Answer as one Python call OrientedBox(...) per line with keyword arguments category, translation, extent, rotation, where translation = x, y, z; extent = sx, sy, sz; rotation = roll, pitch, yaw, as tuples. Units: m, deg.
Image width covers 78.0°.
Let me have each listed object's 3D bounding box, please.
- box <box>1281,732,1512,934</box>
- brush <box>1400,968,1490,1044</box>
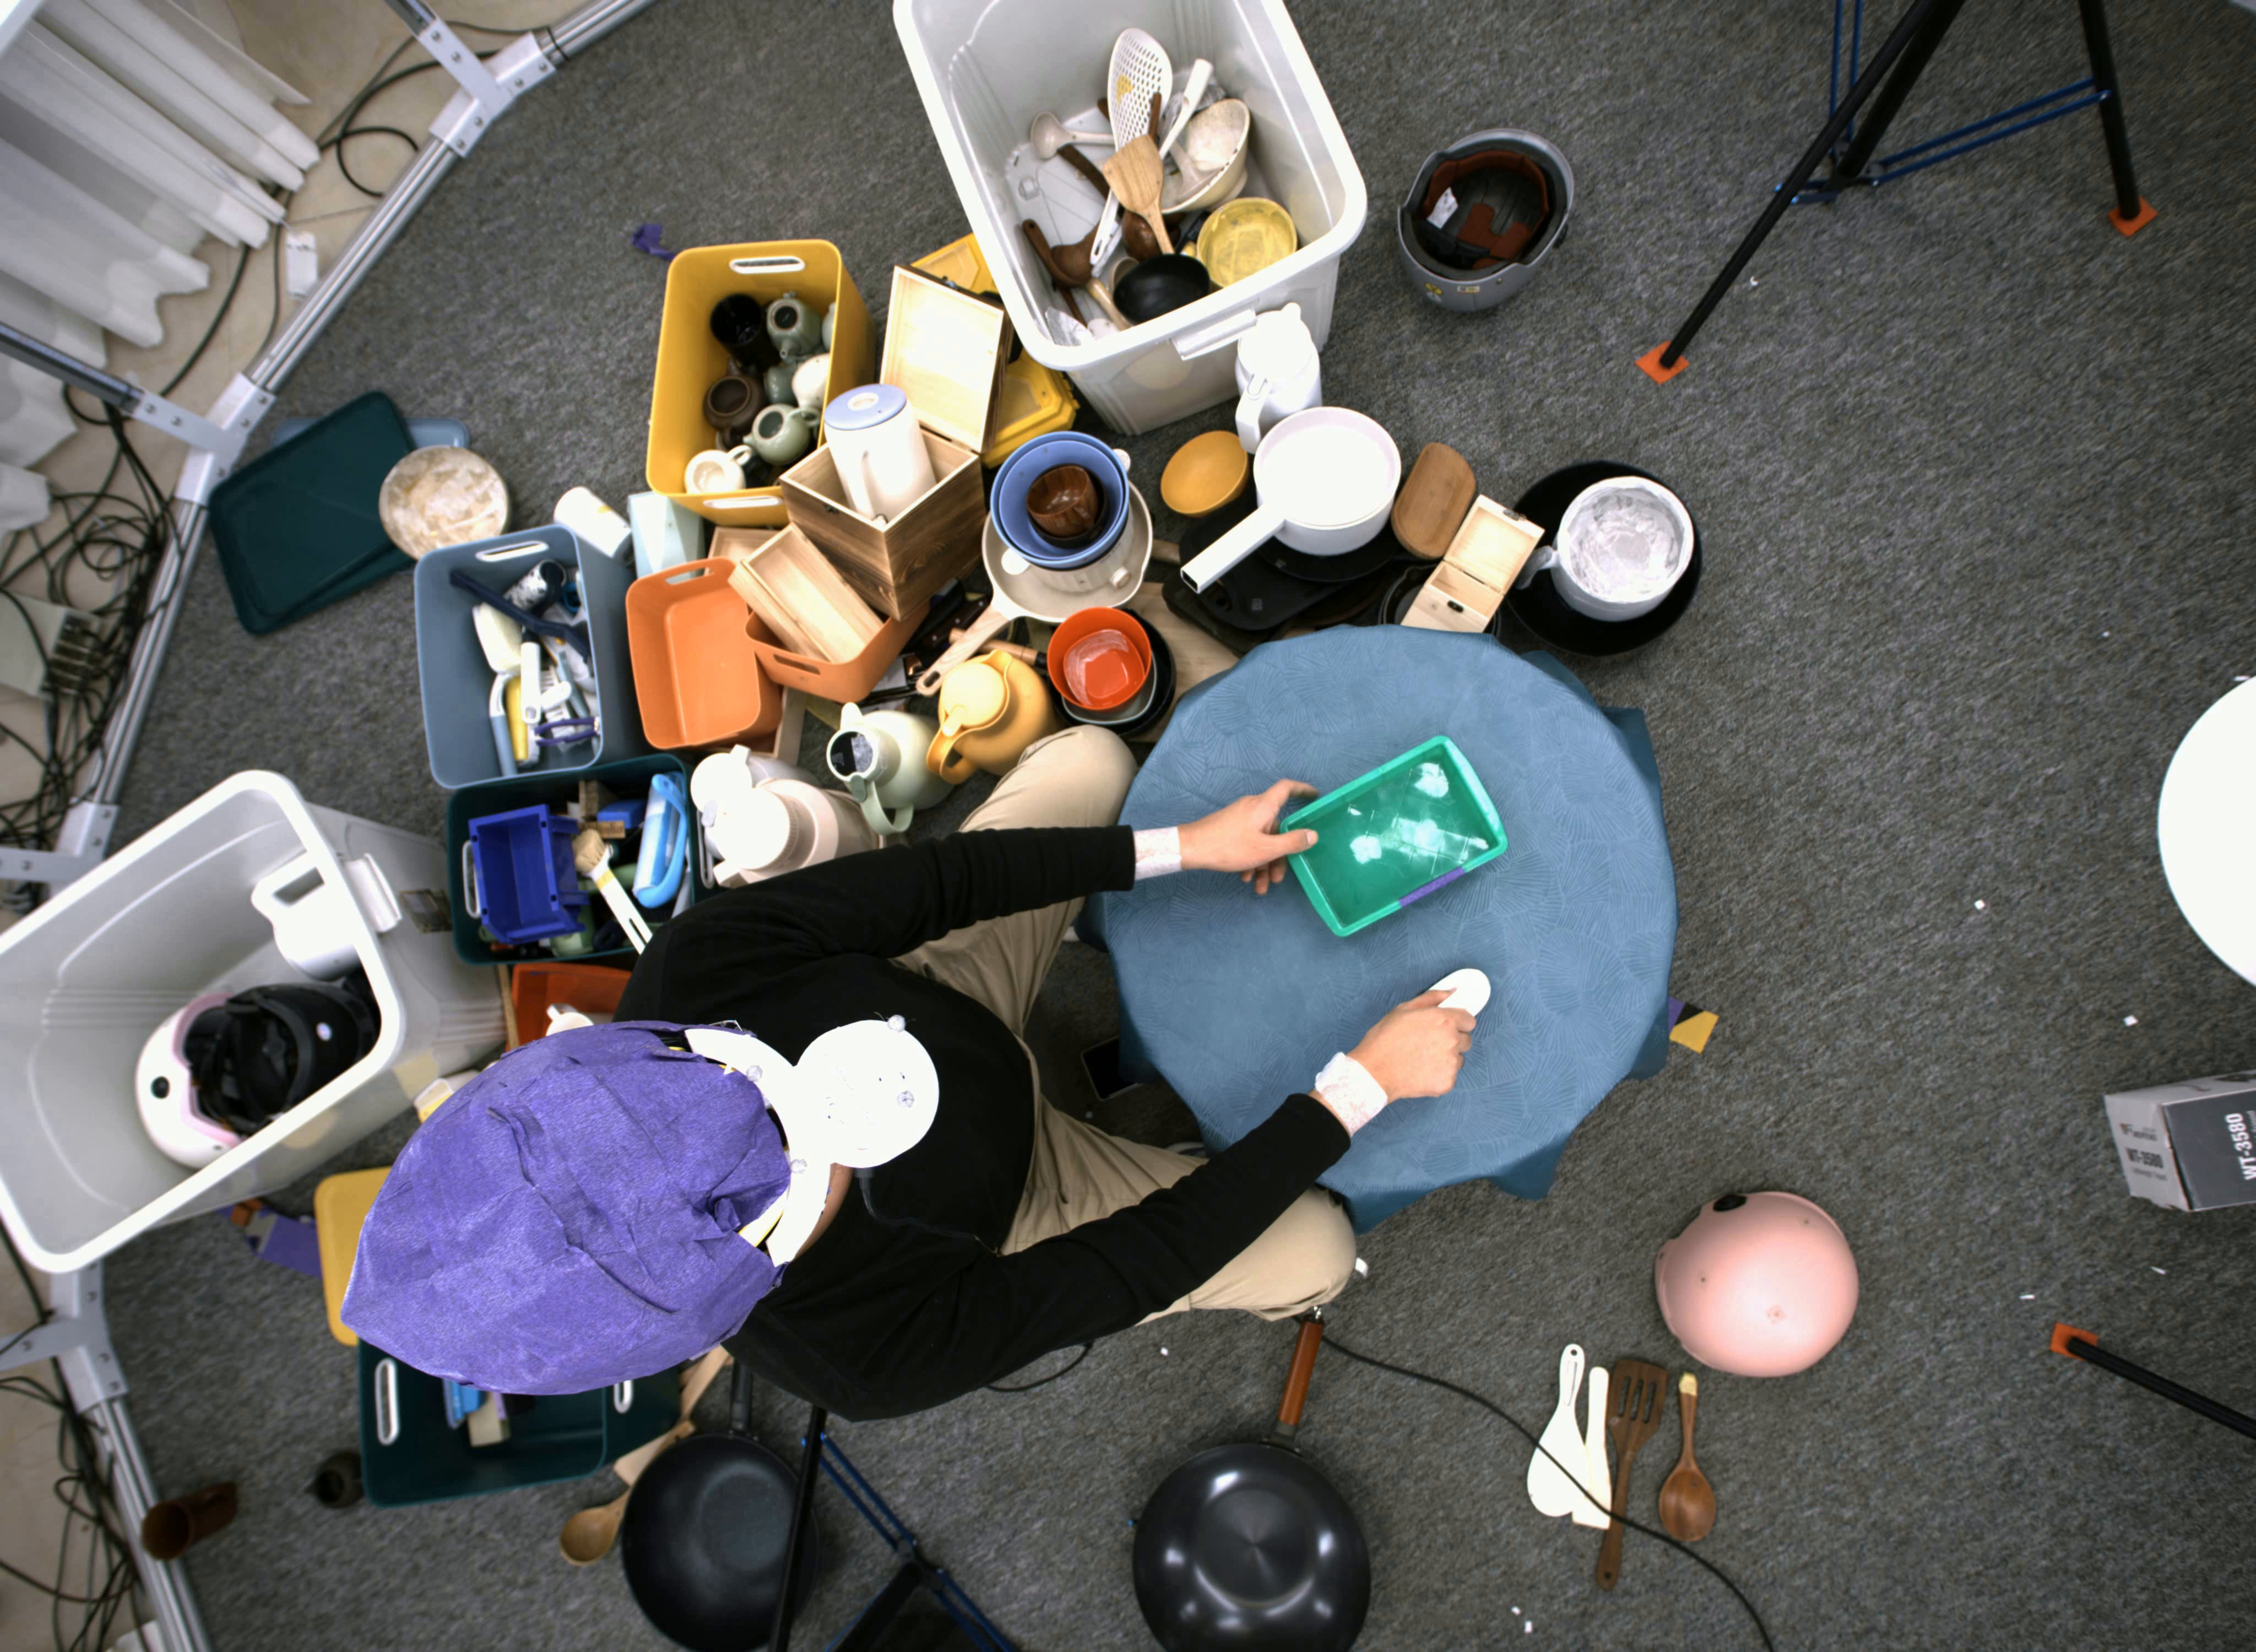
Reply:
OrientedBox(category="box", translation=(0.276, 0.008, 1.431), extent=(0.211, 0.065, 0.138), rotation=(-30, 83, 6))
OrientedBox(category="brush", translation=(0.324, 0.183, 1.405), extent=(0.099, 0.072, 0.050), rotation=(-36, 82, 4))
